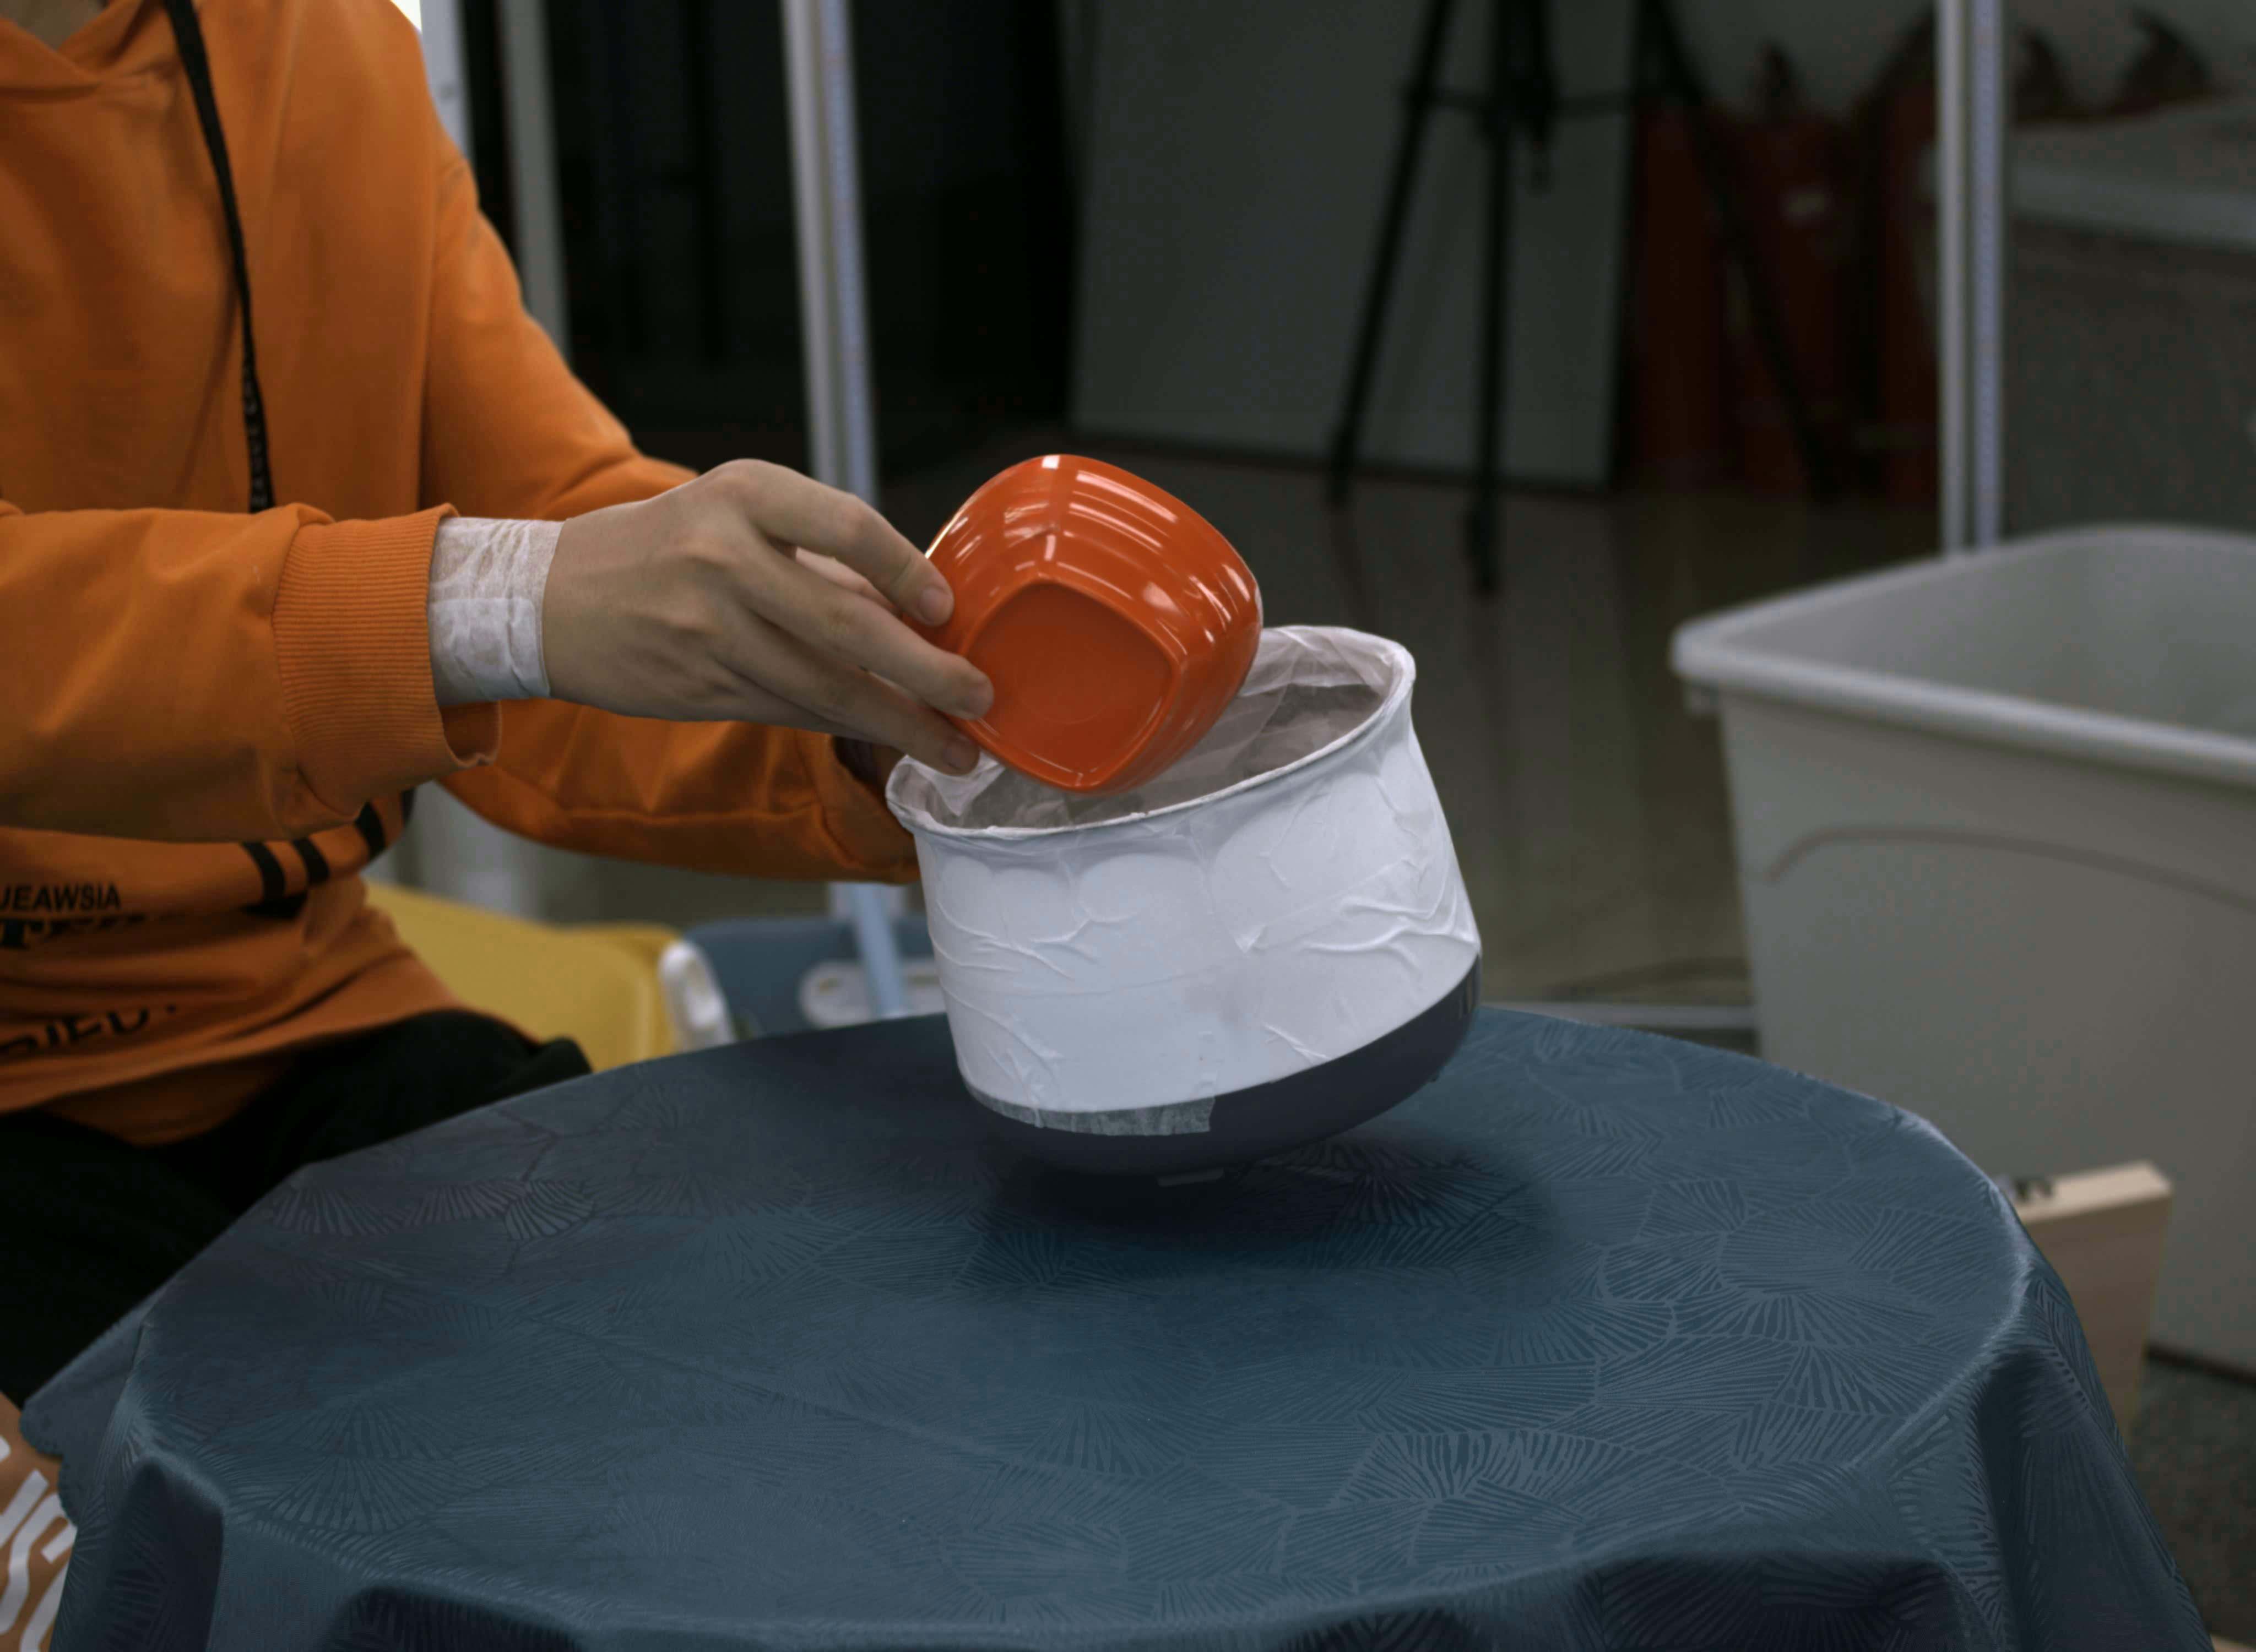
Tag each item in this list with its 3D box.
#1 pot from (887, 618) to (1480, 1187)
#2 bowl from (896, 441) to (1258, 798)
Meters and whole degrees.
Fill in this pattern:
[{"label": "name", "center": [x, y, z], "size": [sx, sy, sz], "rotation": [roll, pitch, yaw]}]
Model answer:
[{"label": "pot", "center": [0.007, 0.021, 1.773], "size": [0.175, 0.137, 0.236], "rotation": [-23, 19, -25]}, {"label": "bowl", "center": [-0.019, -0.057, 1.710], "size": [0.118, 0.120, 0.051], "rotation": [-1, 24, 9]}]
